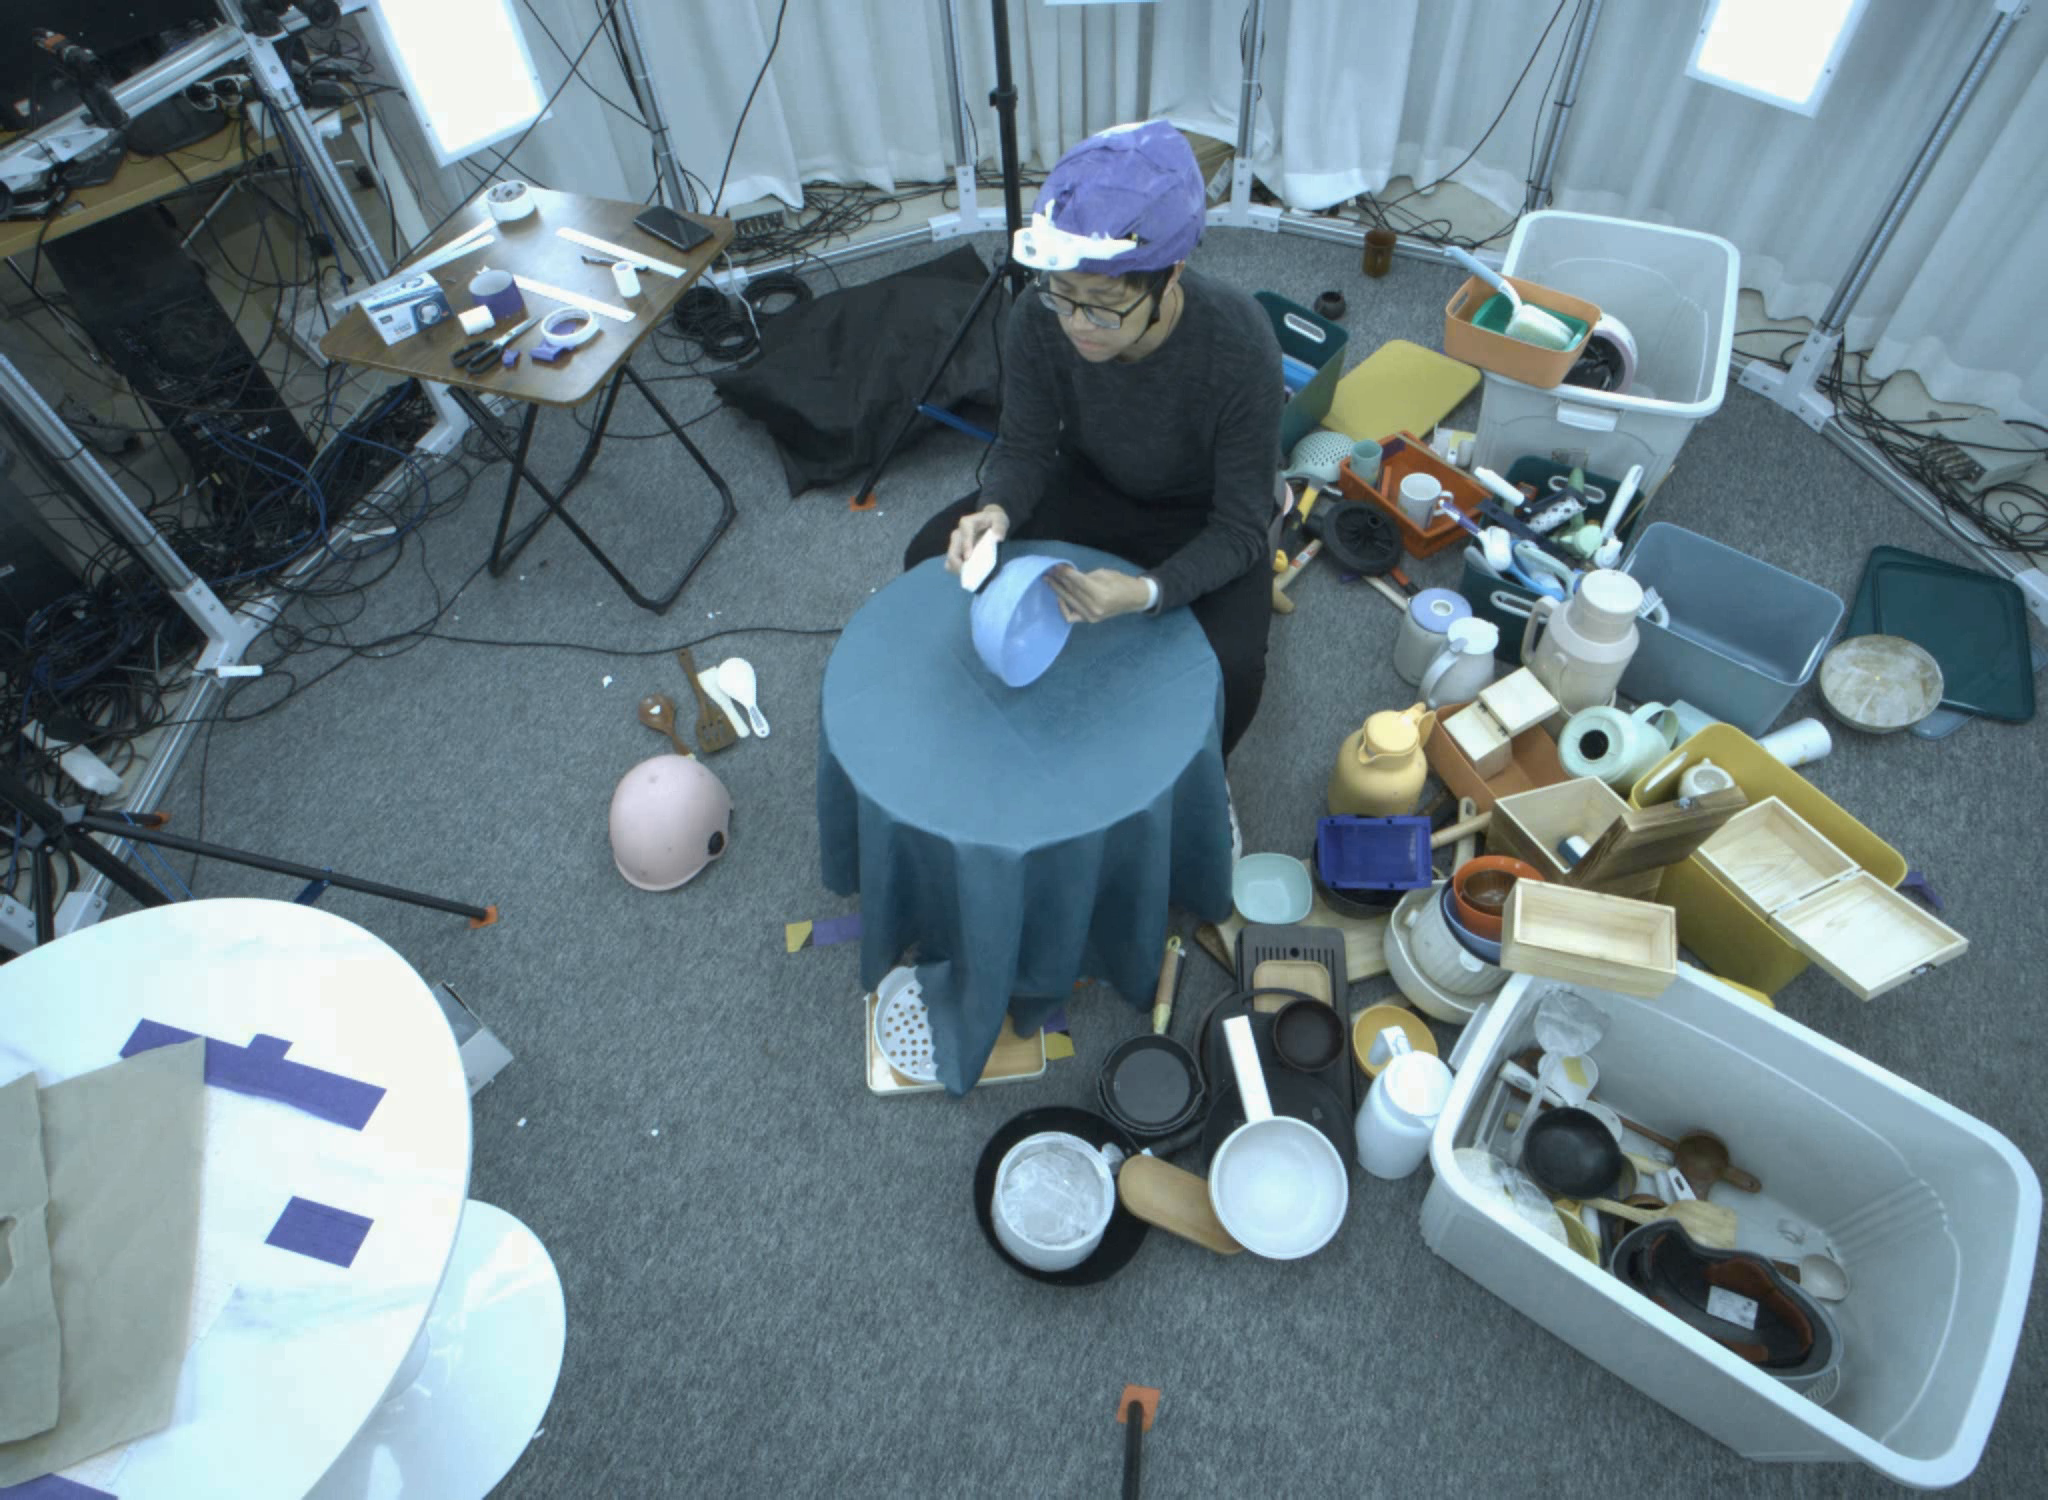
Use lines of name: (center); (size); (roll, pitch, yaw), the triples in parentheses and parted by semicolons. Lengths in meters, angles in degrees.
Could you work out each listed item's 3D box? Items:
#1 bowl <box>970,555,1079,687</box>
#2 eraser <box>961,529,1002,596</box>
bowl: (-0.014, -0.199, 1.768); (0.094, 0.199, 0.197); (28, 61, 24)
eraser: (-0.061, -0.271, 1.751); (0.035, 0.063, 0.130); (34, 25, -20)
